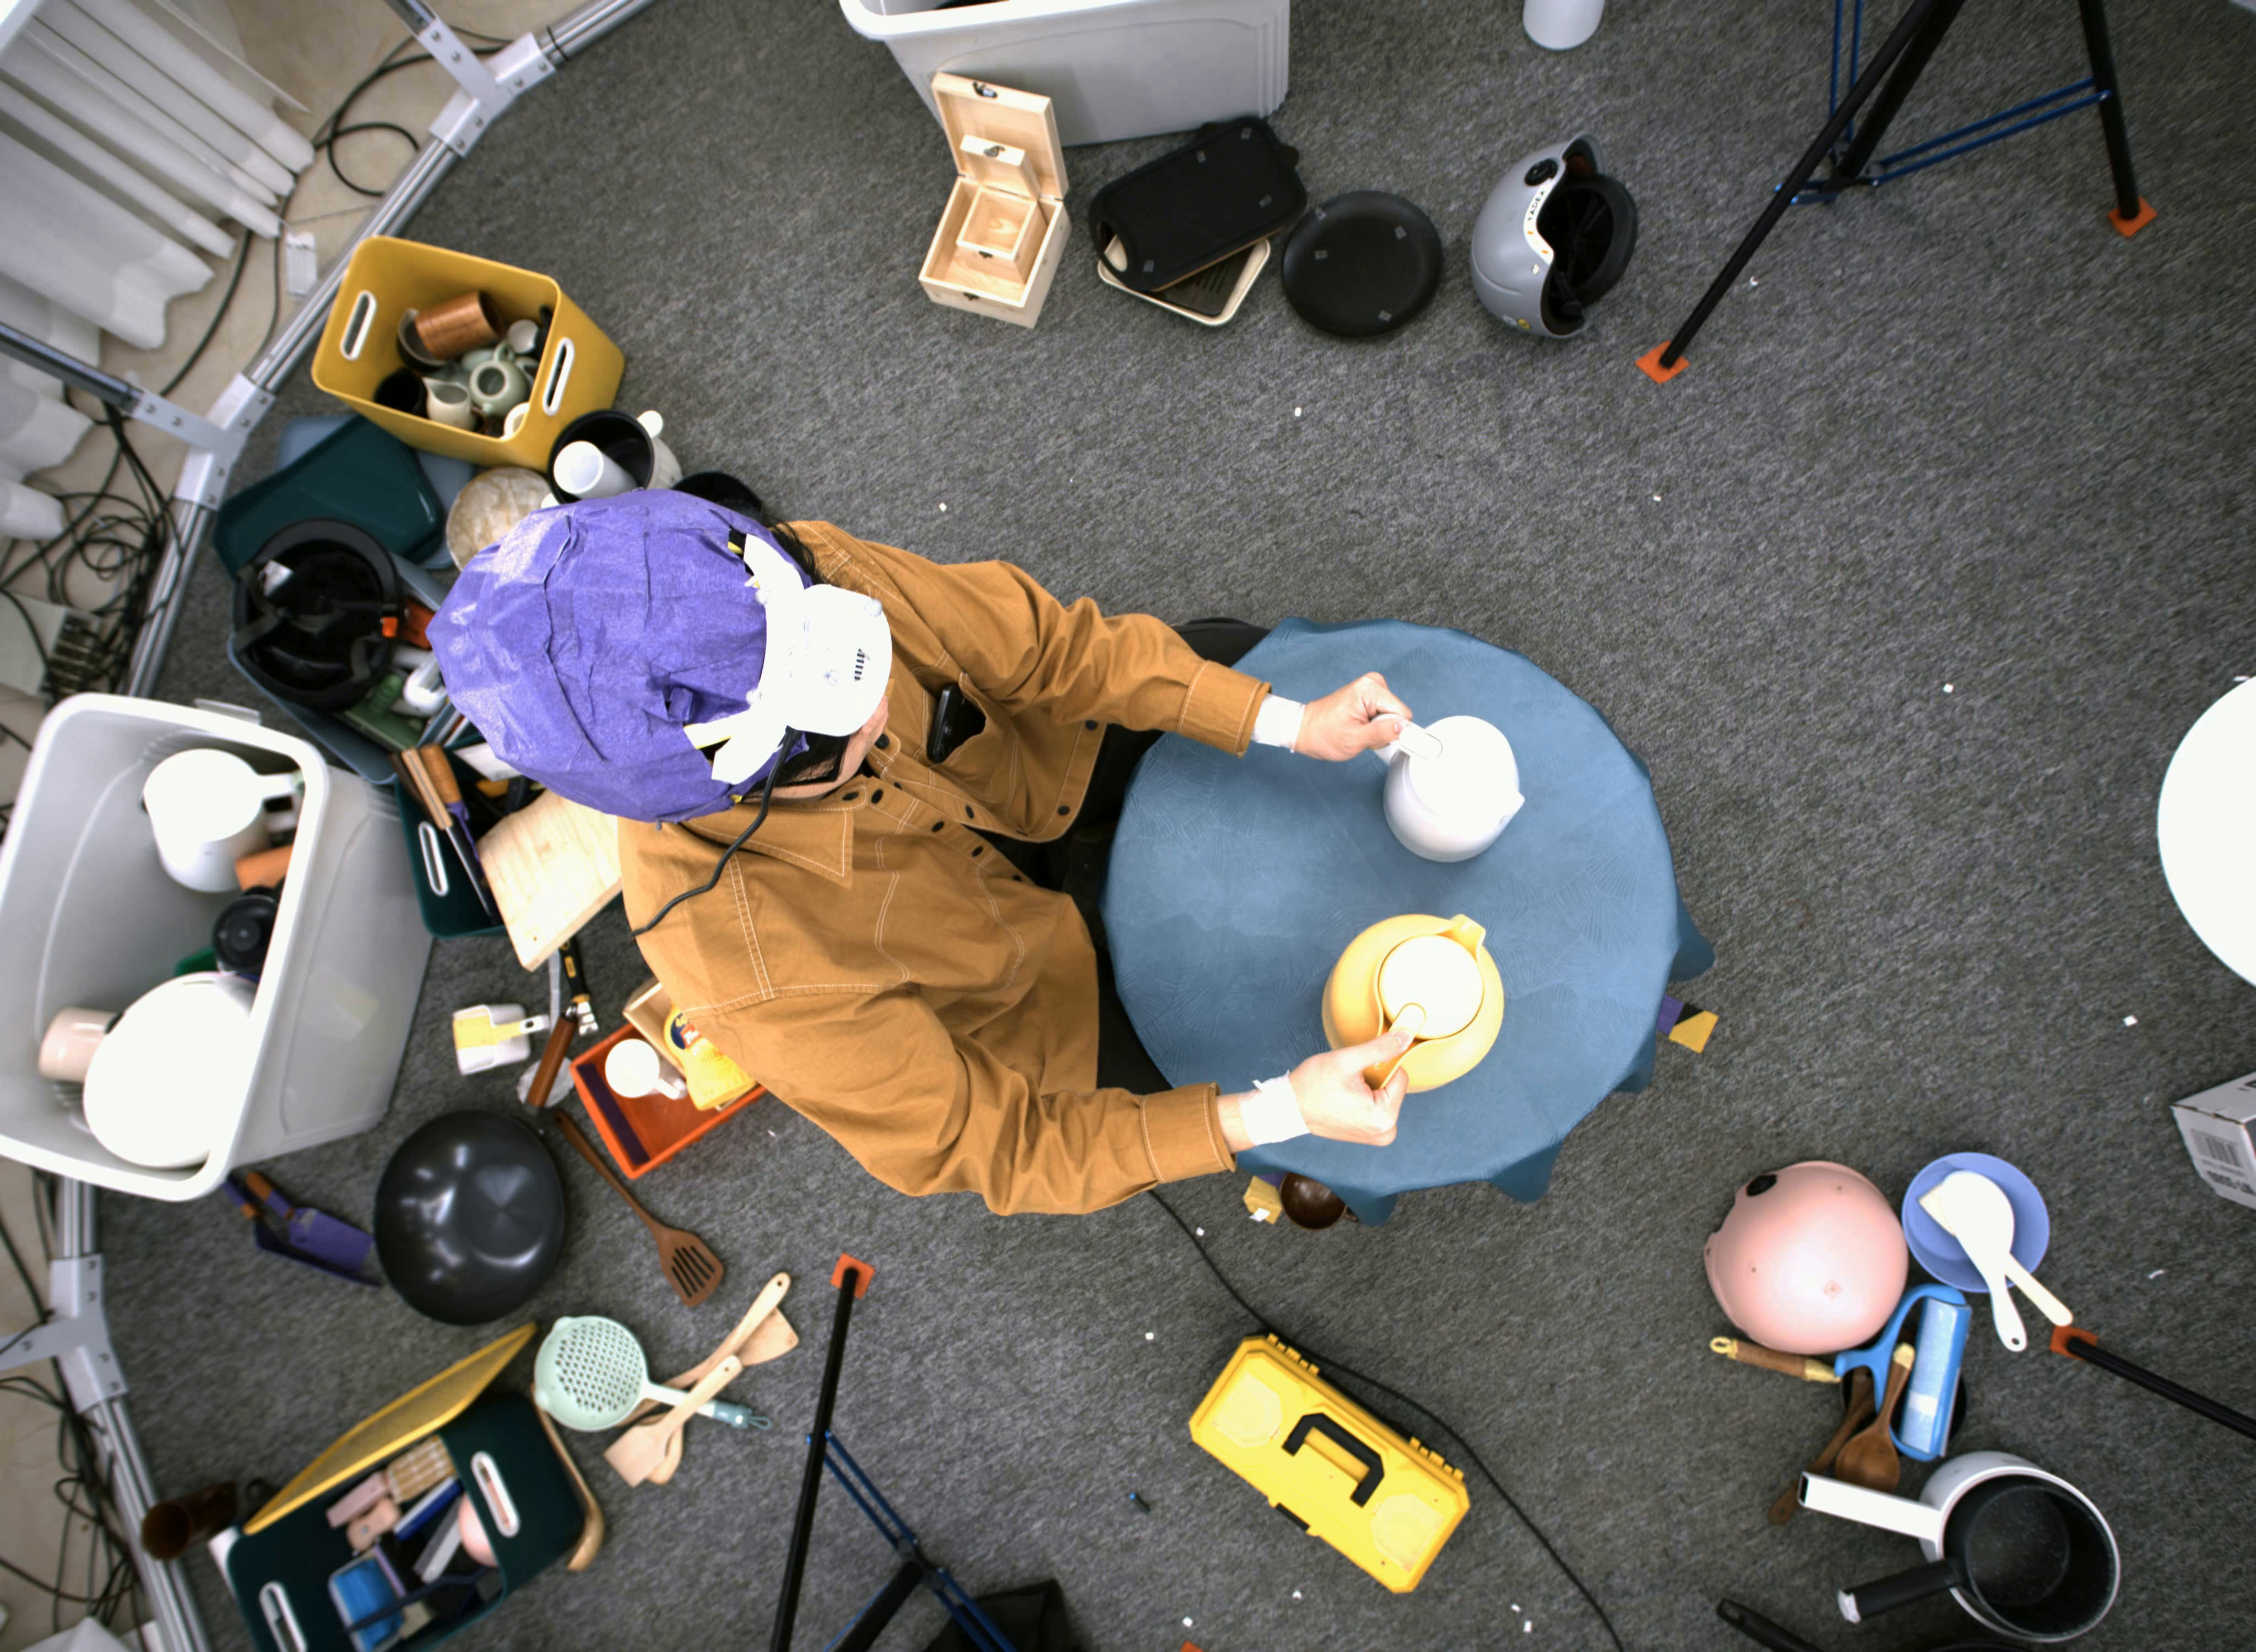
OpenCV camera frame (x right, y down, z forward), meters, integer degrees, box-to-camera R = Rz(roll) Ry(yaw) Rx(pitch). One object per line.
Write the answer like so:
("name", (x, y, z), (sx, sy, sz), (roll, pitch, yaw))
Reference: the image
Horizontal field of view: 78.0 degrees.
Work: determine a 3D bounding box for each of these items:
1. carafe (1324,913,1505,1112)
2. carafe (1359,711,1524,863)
("carafe", (0.260, 0.178, 1.307), (0.163, 0.262, 0.201), (35, 83, 12))
("carafe", (0.299, -0.050, 1.336), (0.167, 0.249, 0.133), (34, 92, 12))
